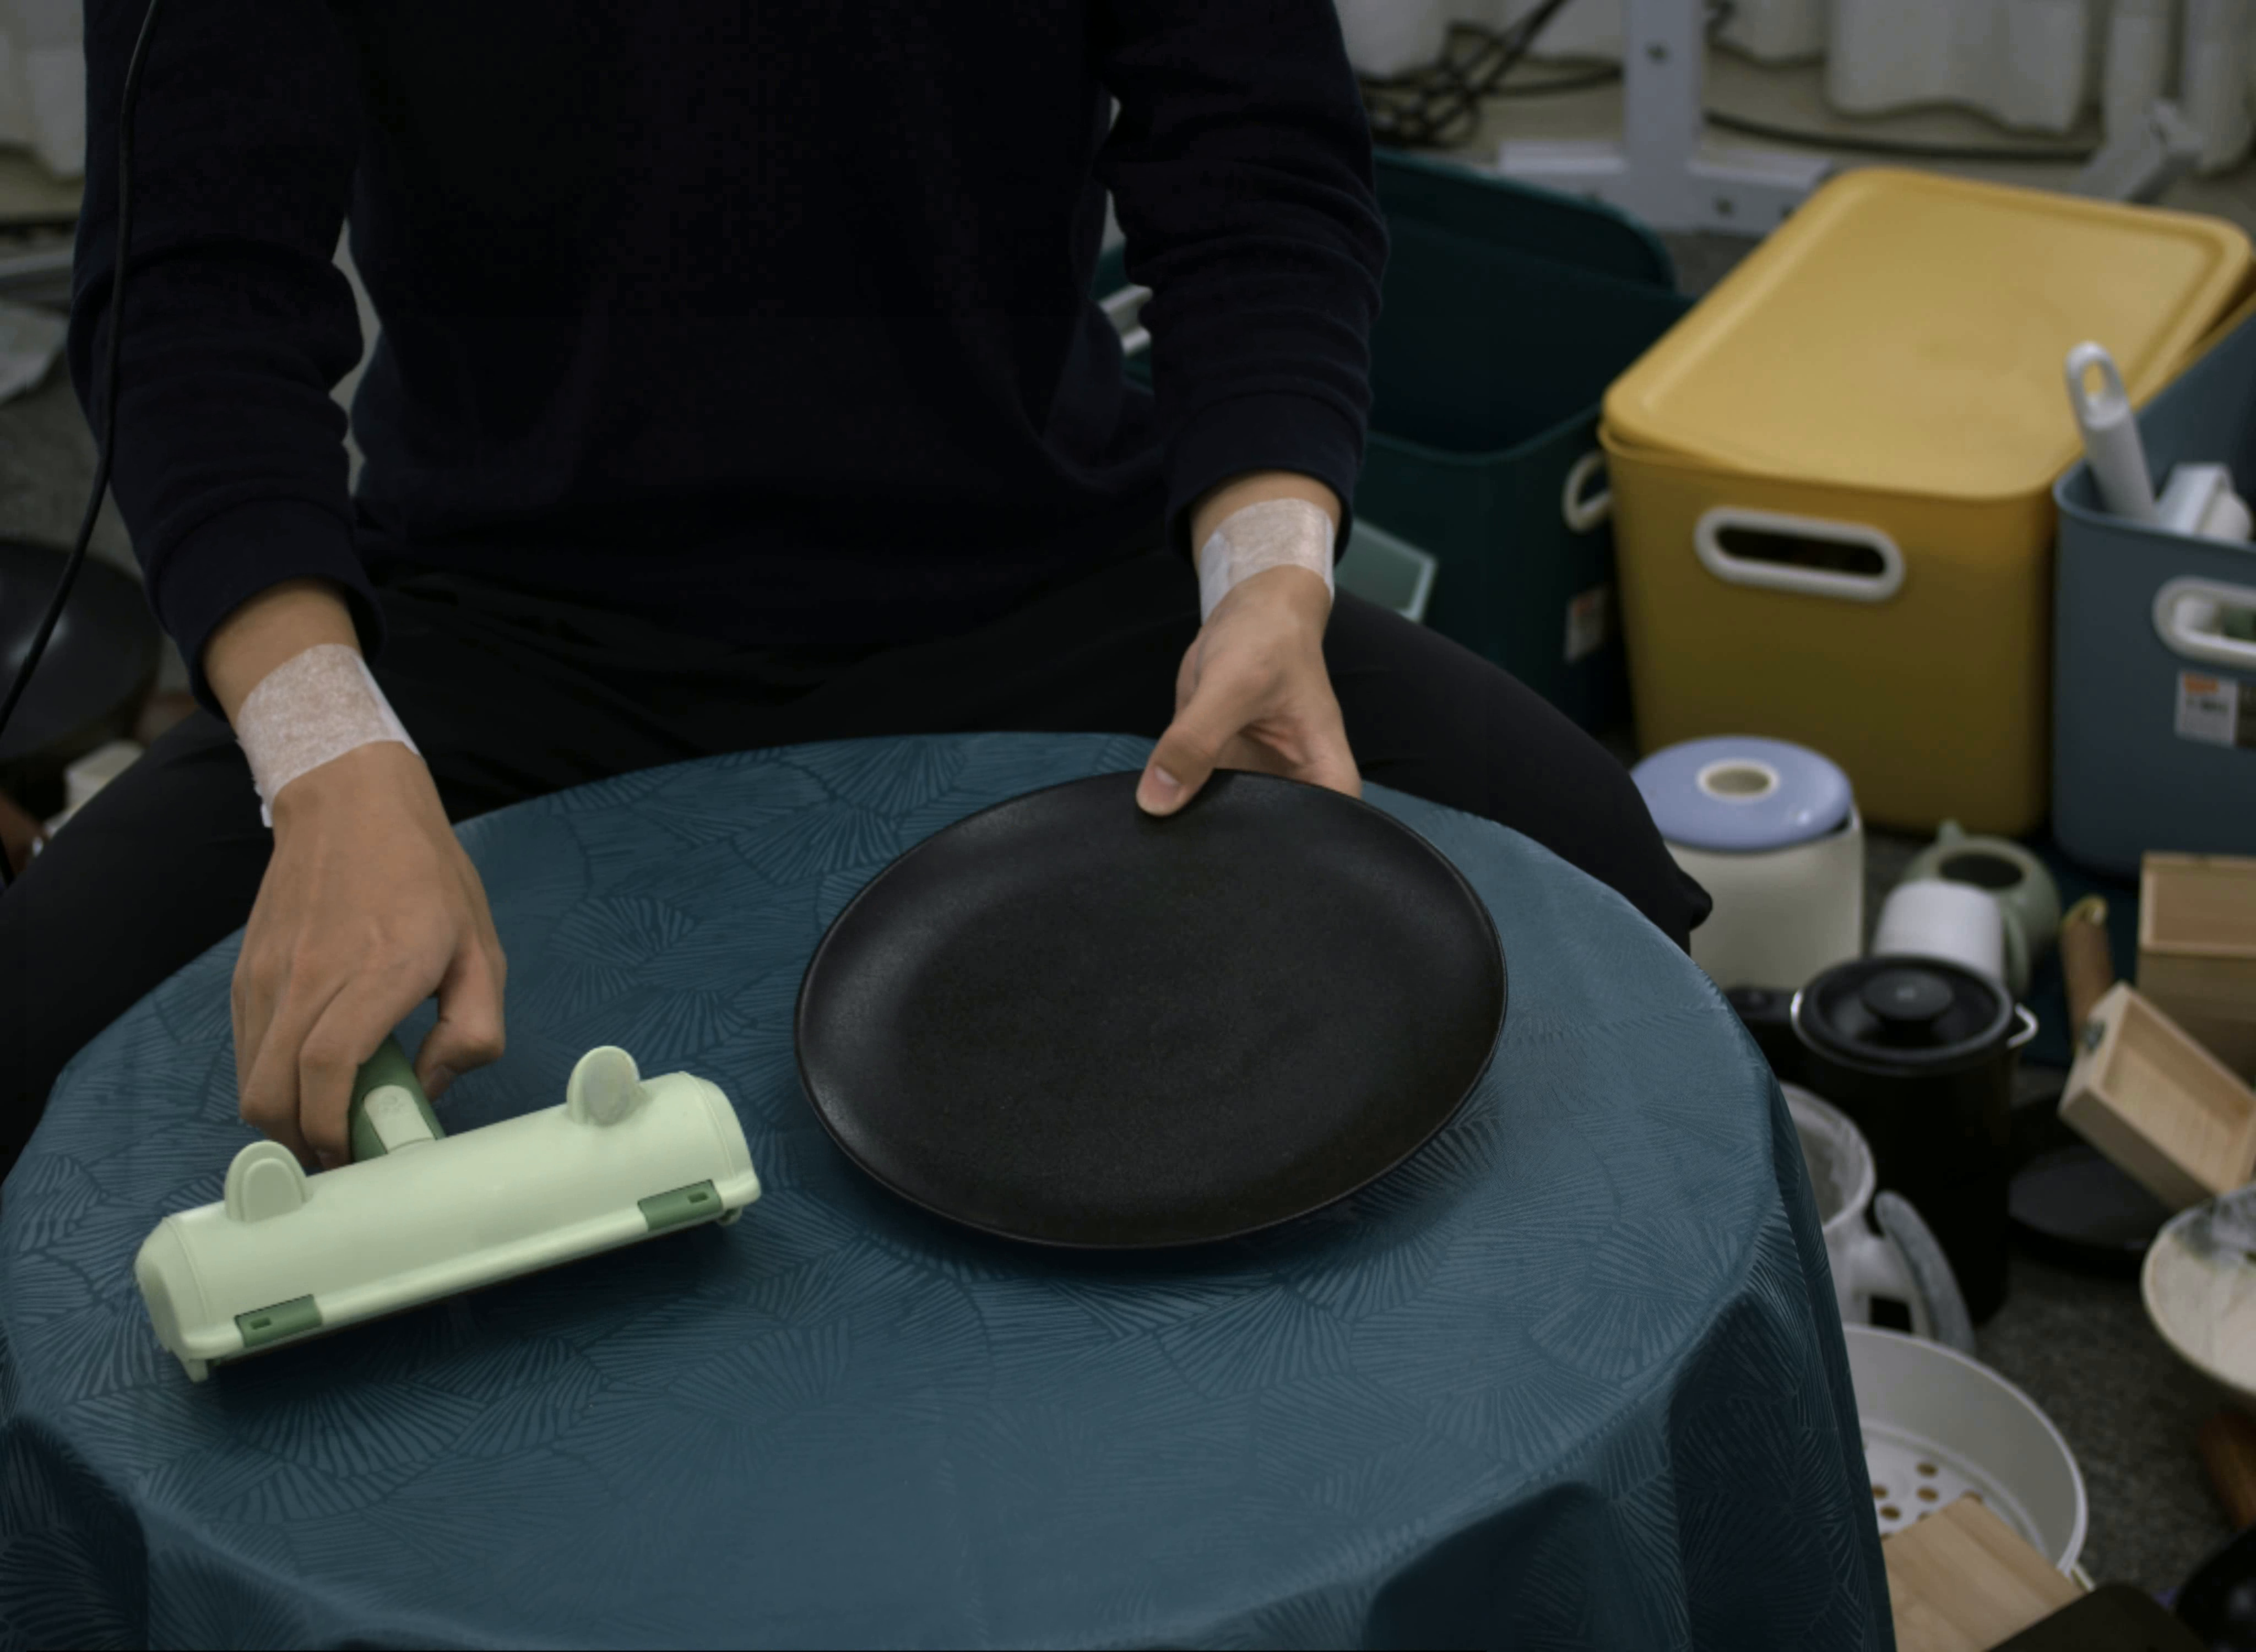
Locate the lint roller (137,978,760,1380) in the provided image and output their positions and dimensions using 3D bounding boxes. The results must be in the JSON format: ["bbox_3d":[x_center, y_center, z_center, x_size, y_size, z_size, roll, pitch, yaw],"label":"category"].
[{"bbox_3d":[-0.243,0.089,1.841,0.199,0.081,0.185,-15,44,-23],"label":"lint roller"}]

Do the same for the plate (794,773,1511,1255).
[{"bbox_3d":[0.009,0.067,1.904,0.243,0.023,0.249,-4,39,3],"label":"plate"}]
